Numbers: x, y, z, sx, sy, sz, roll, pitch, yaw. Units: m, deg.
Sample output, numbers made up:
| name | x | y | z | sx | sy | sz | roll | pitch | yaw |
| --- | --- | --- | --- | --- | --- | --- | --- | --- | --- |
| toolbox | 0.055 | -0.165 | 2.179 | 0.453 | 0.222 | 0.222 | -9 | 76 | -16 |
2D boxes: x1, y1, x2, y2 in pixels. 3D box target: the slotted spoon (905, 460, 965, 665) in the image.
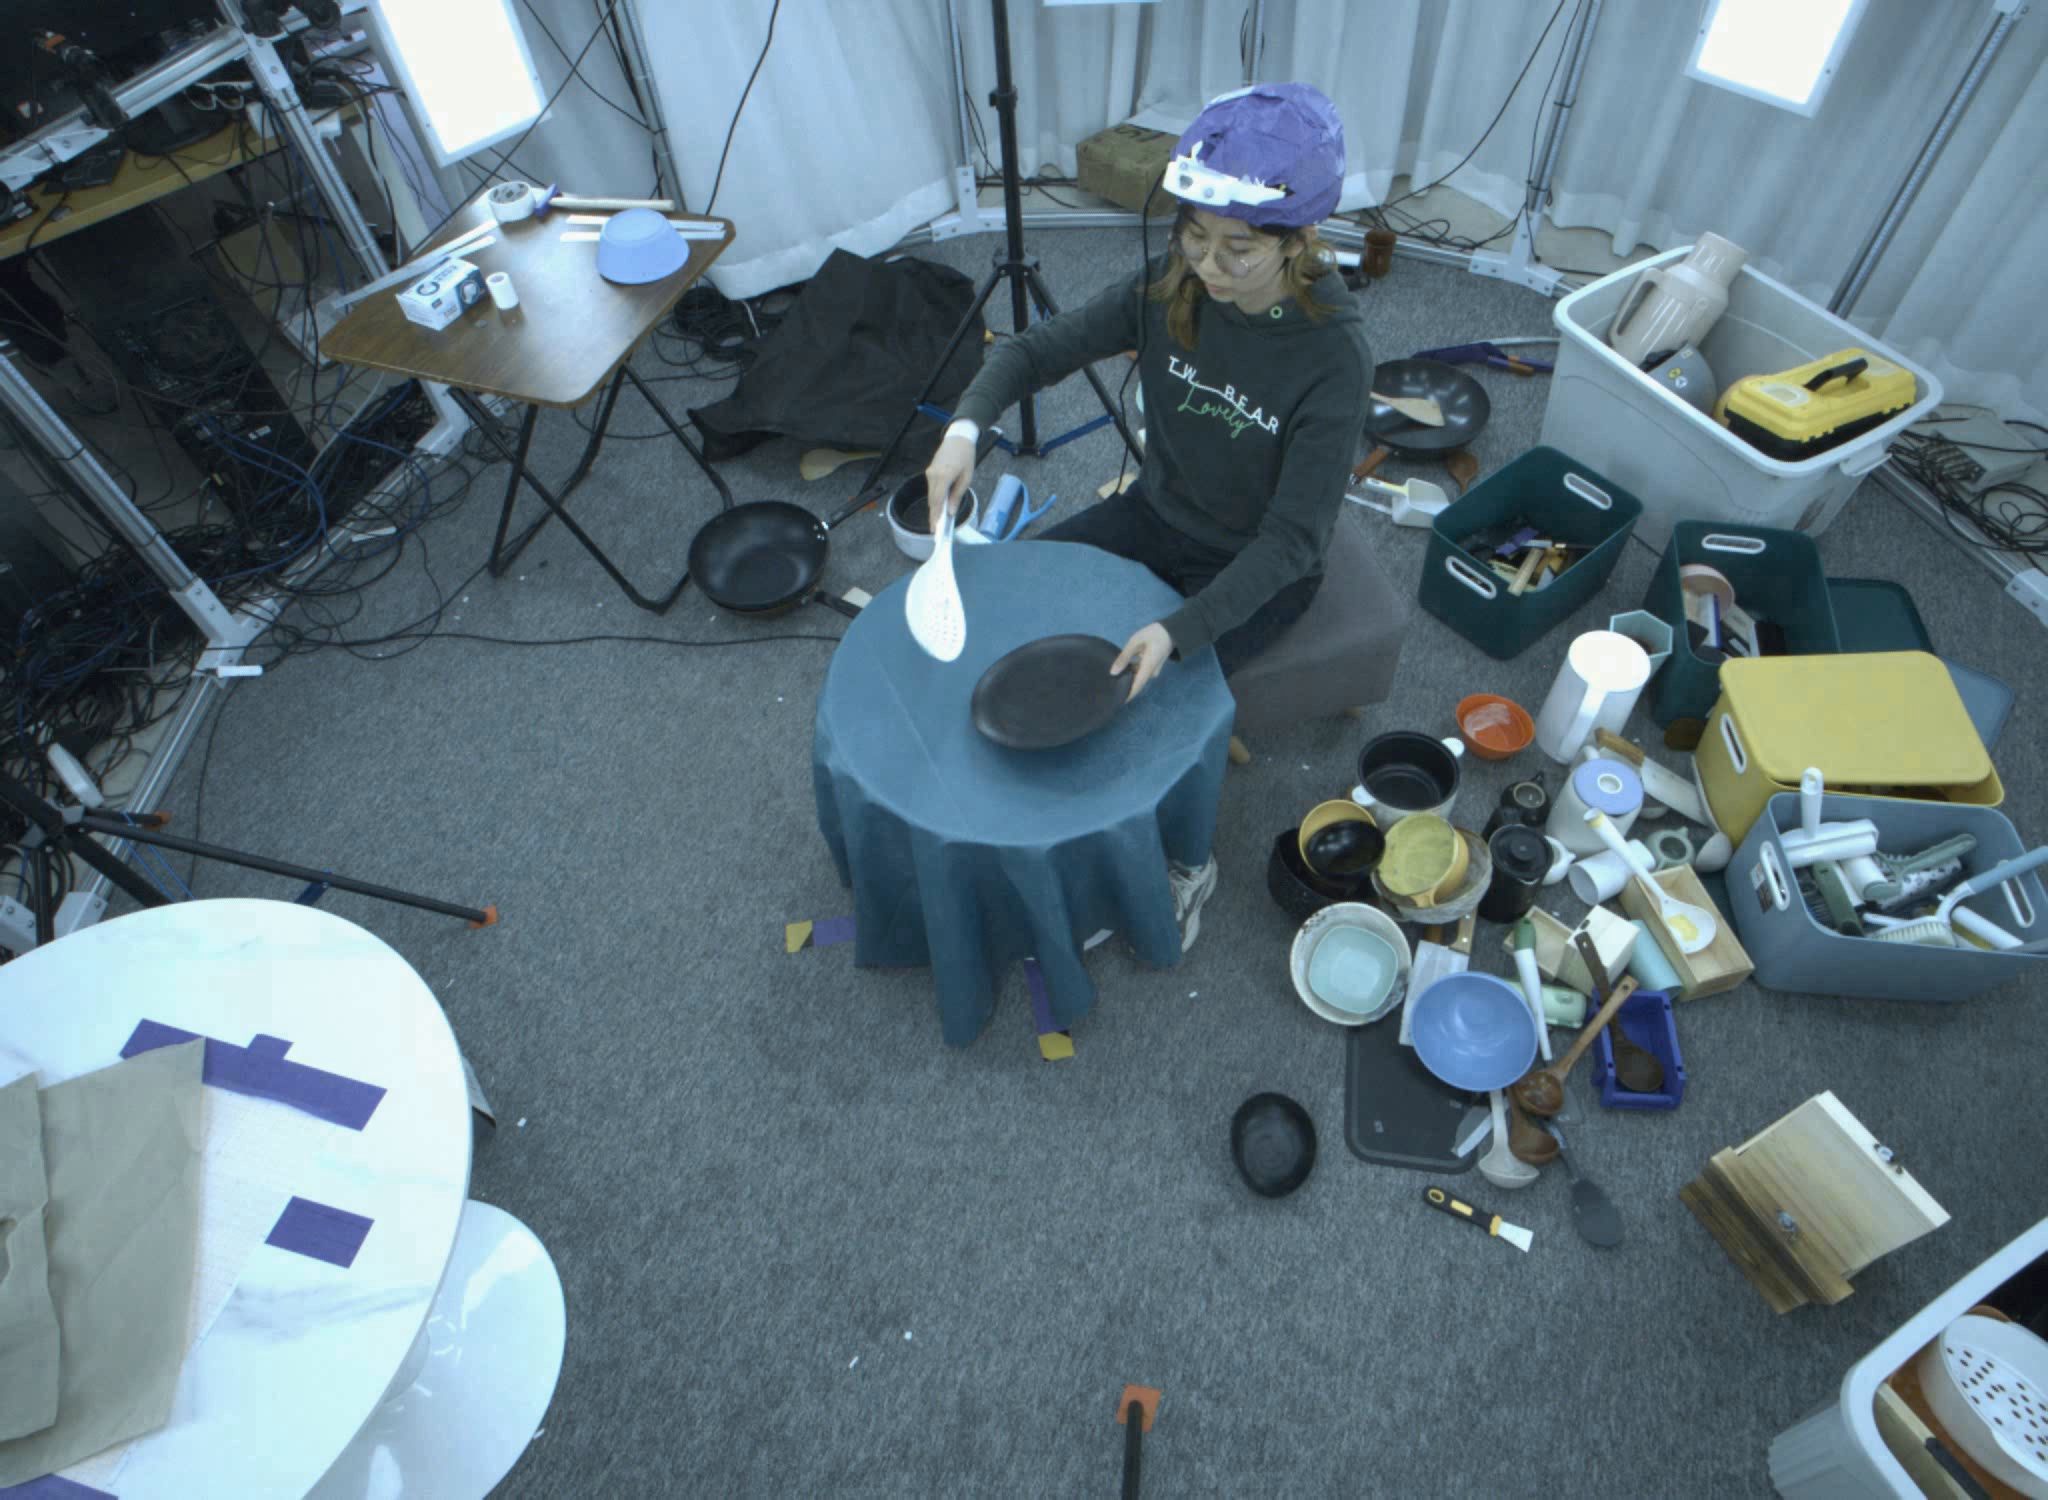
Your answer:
| name | x | y | z | sx | sy | sz | roll | pitch | yaw |
| --- | --- | --- | --- | --- | --- | --- | --- | --- | --- |
| slotted spoon | -0.119 | -0.281 | 1.776 | 0.045 | 0.139 | 0.348 | -5 | 63 | 30 |

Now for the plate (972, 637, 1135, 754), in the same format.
| name | x | y | z | sx | sy | sz | roll | pitch | yaw |
| --- | --- | --- | --- | --- | --- | --- | --- | --- | --- |
| plate | 0.043 | -0.076 | 1.791 | 0.243 | 0.024 | 0.242 | -9 | 44 | 10 |
